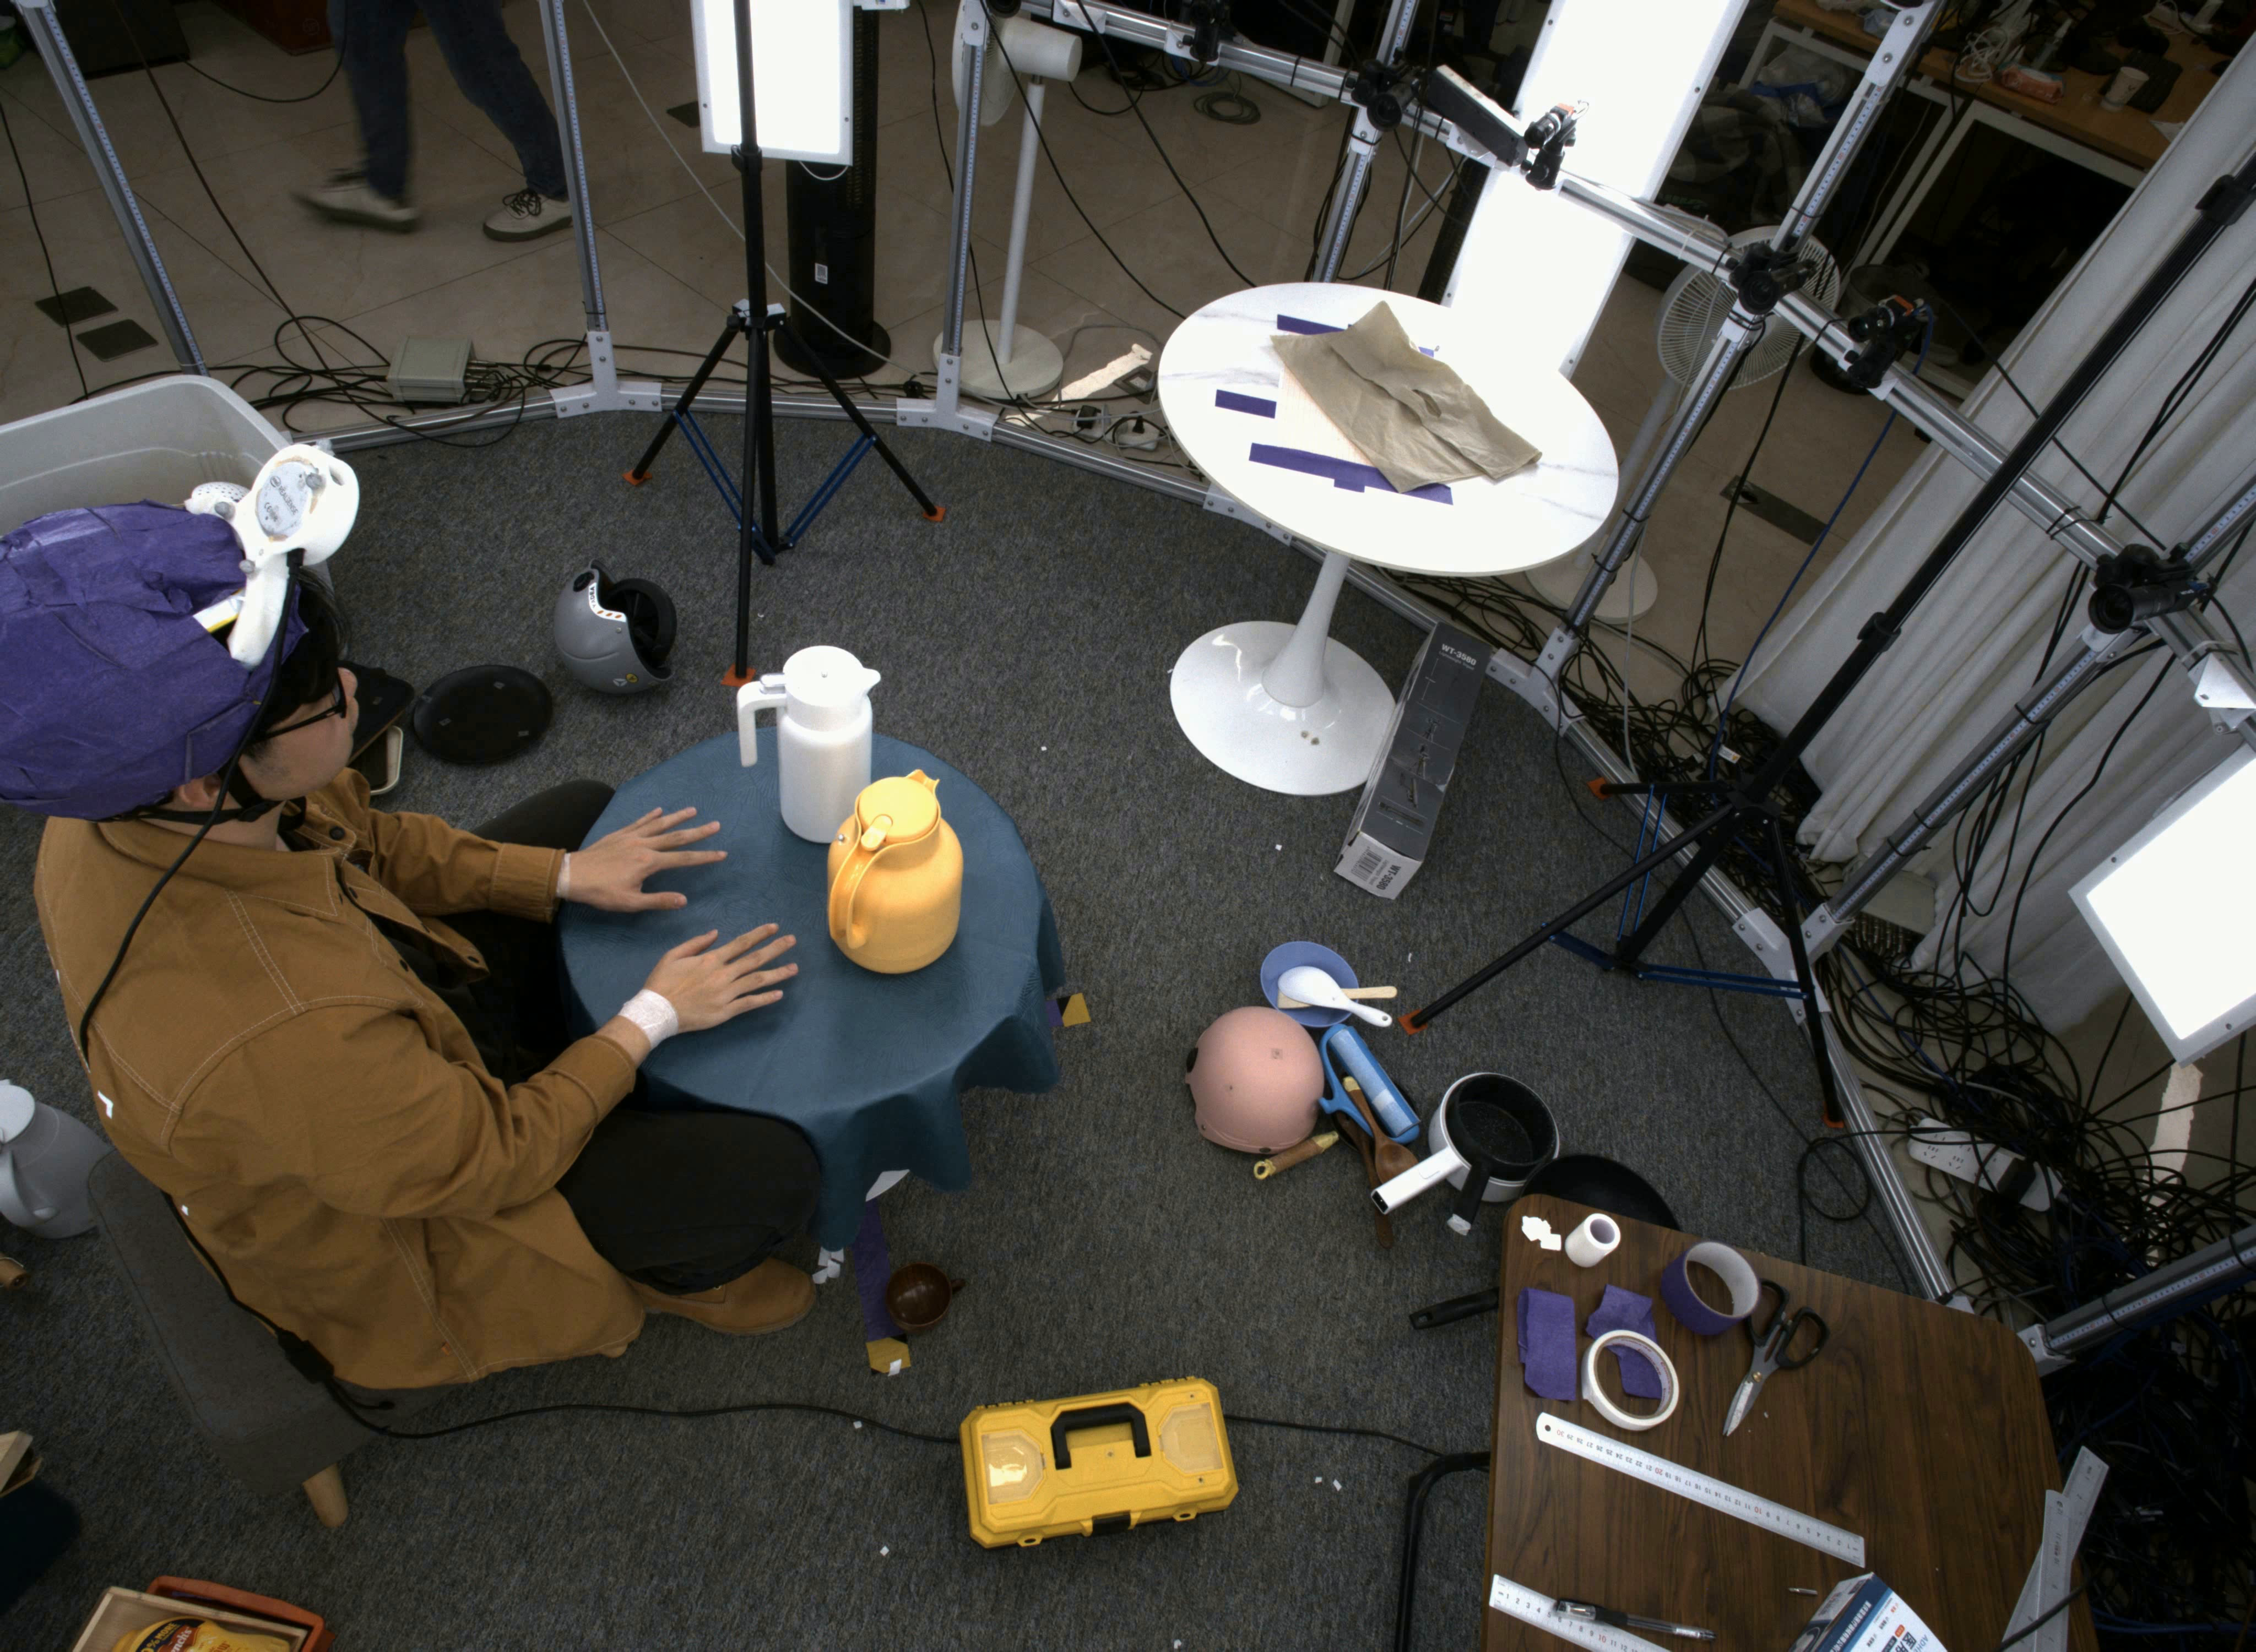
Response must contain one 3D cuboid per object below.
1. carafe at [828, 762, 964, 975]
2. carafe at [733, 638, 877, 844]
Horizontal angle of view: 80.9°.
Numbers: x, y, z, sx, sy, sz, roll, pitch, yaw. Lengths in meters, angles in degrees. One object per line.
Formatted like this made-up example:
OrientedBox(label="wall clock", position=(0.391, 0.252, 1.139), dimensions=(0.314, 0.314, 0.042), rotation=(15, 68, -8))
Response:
OrientedBox(label="carafe", position=(-0.287, 0.060, 1.542), dimensions=(0.160, 0.267, 0.201), rotation=(25, 50, 12))
OrientedBox(label="carafe", position=(-0.402, -0.100, 1.629), dimensions=(0.173, 0.274, 0.121), rotation=(-9, 56, -18))
